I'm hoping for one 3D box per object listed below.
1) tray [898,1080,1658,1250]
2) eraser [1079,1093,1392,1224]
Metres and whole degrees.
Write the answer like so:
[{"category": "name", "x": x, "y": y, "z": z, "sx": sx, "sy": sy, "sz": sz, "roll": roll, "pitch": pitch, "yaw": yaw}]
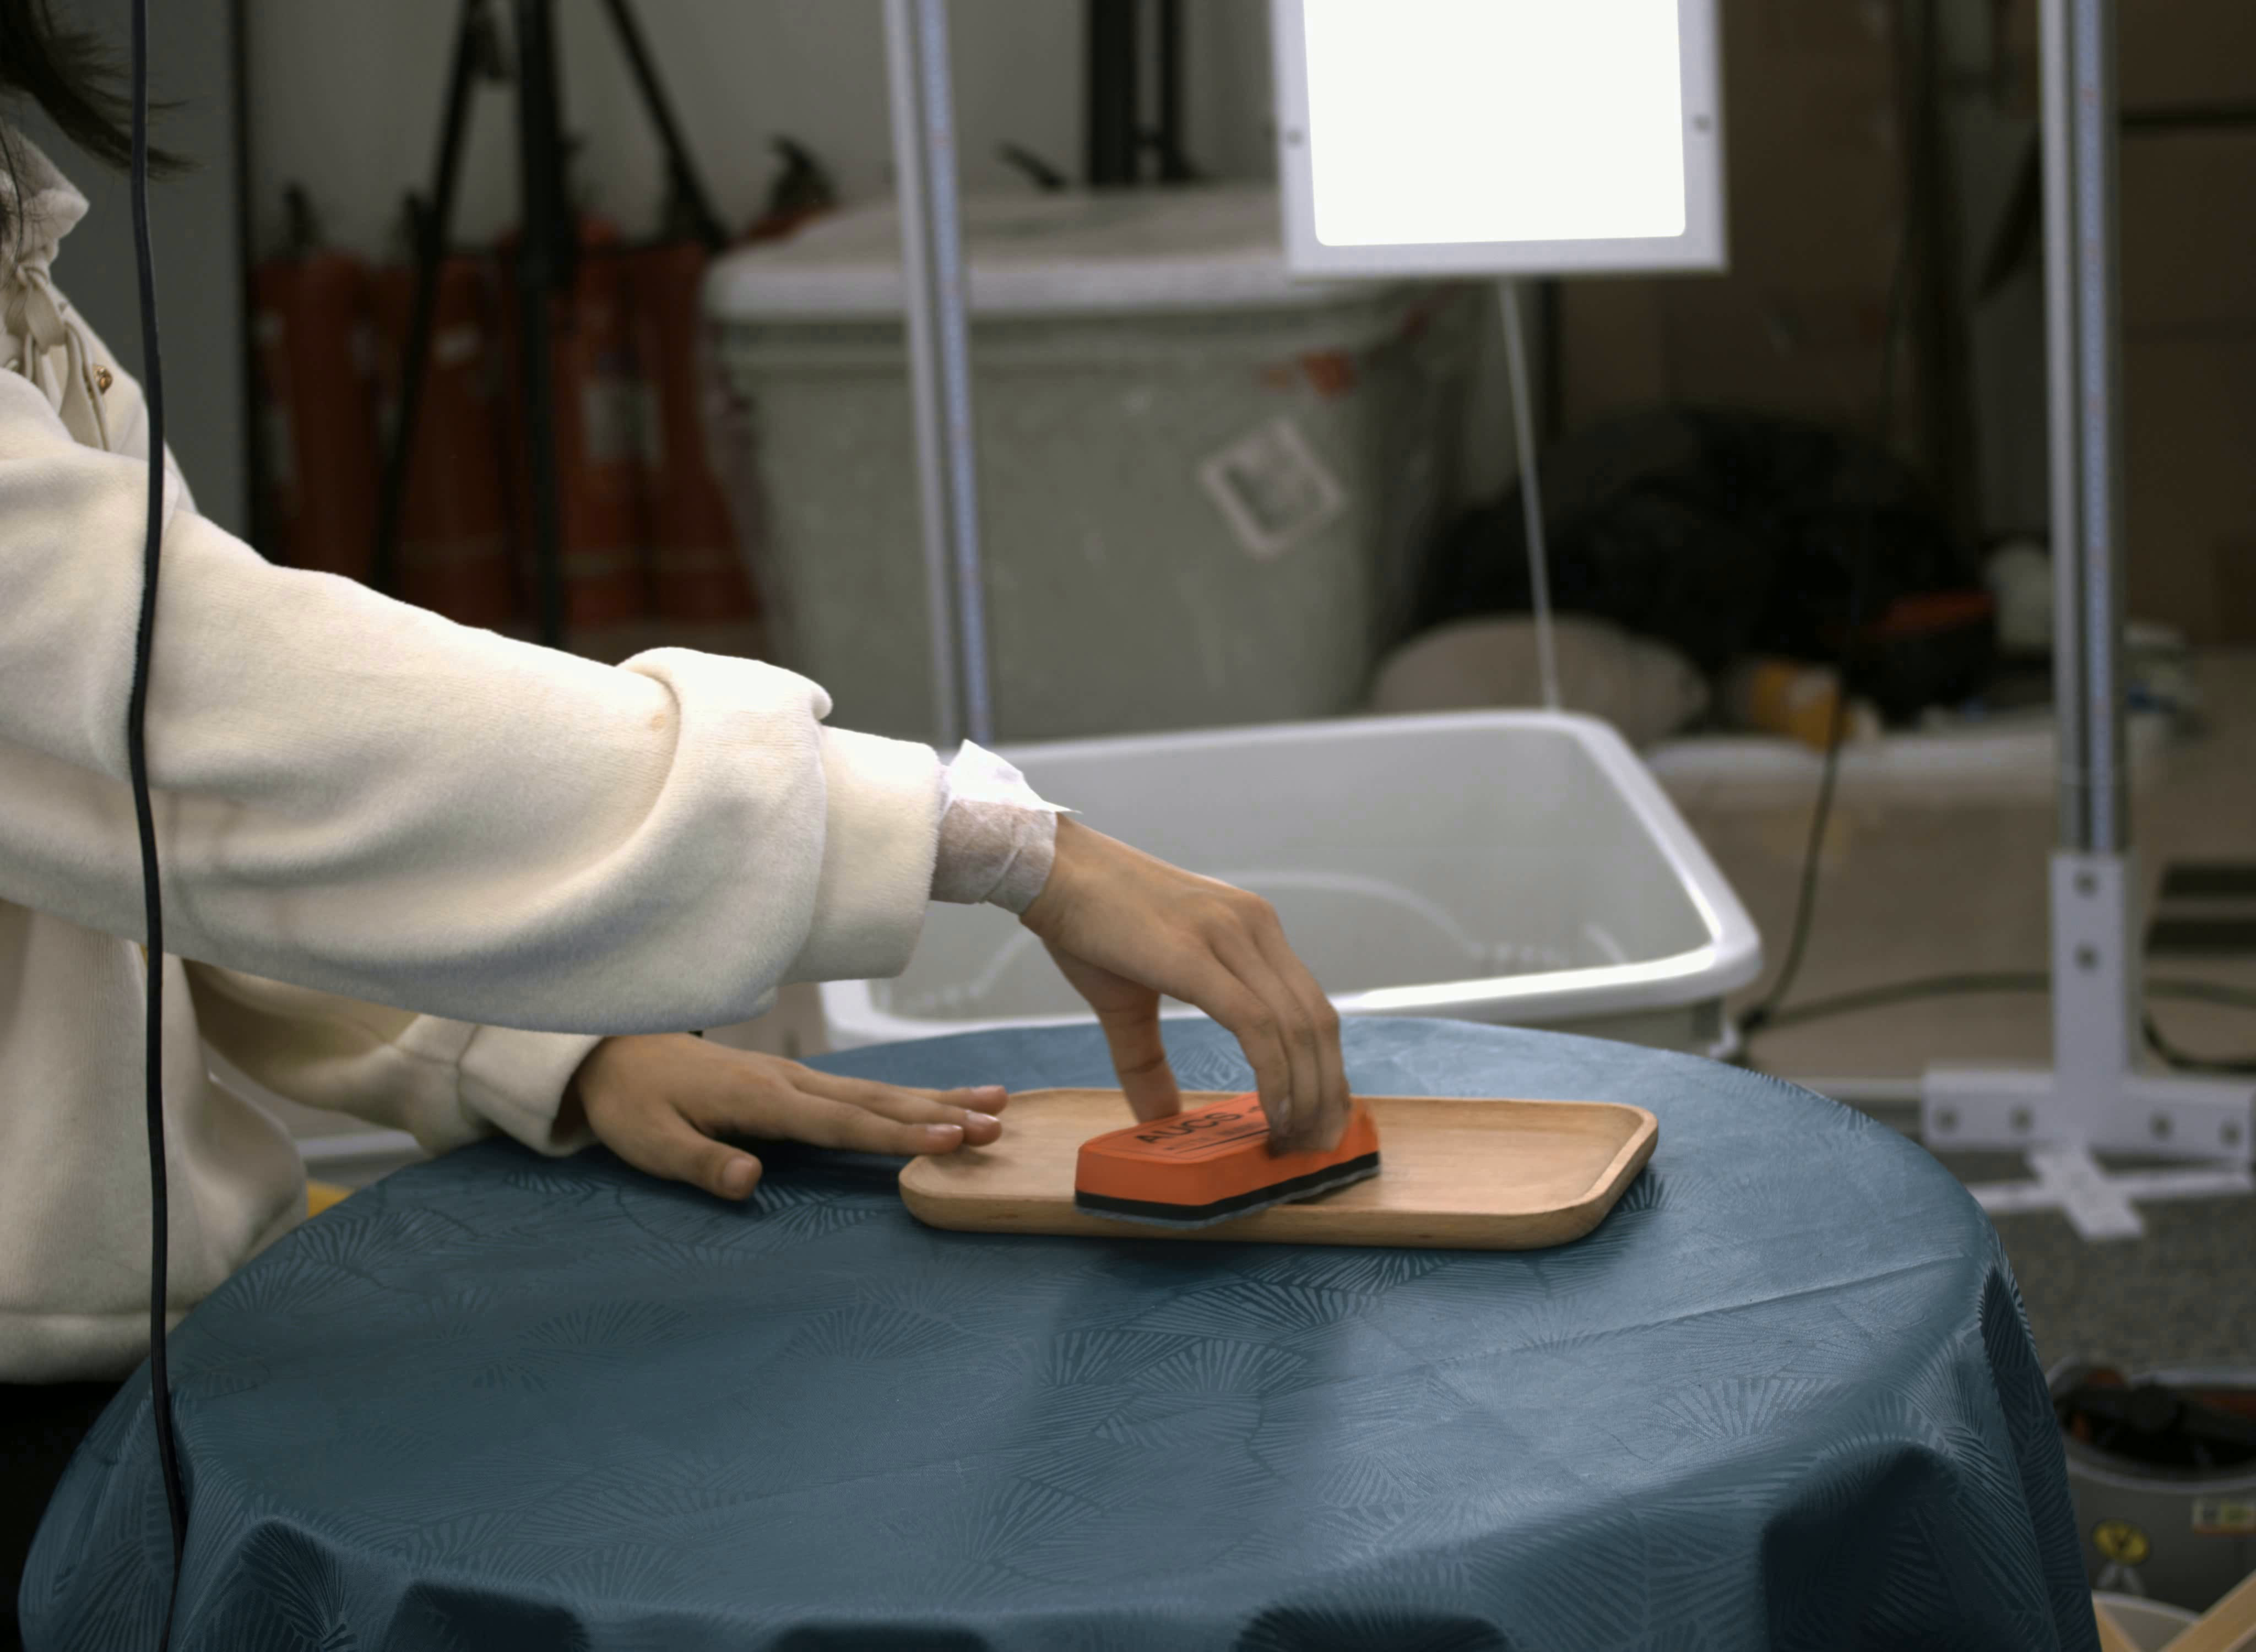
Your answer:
[{"category": "tray", "x": 0.052, "y": 0.115, "z": 1.887, "sx": 0.254, "sy": 0.023, "sz": 0.128, "roll": 0, "pitch": 12, "yaw": 23}, {"category": "eraser", "x": 0.037, "y": 0.111, "z": 1.848, "sx": 0.060, "sy": 0.023, "sz": 0.105, "roll": 6, "pitch": 12, "yaw": 42}]
